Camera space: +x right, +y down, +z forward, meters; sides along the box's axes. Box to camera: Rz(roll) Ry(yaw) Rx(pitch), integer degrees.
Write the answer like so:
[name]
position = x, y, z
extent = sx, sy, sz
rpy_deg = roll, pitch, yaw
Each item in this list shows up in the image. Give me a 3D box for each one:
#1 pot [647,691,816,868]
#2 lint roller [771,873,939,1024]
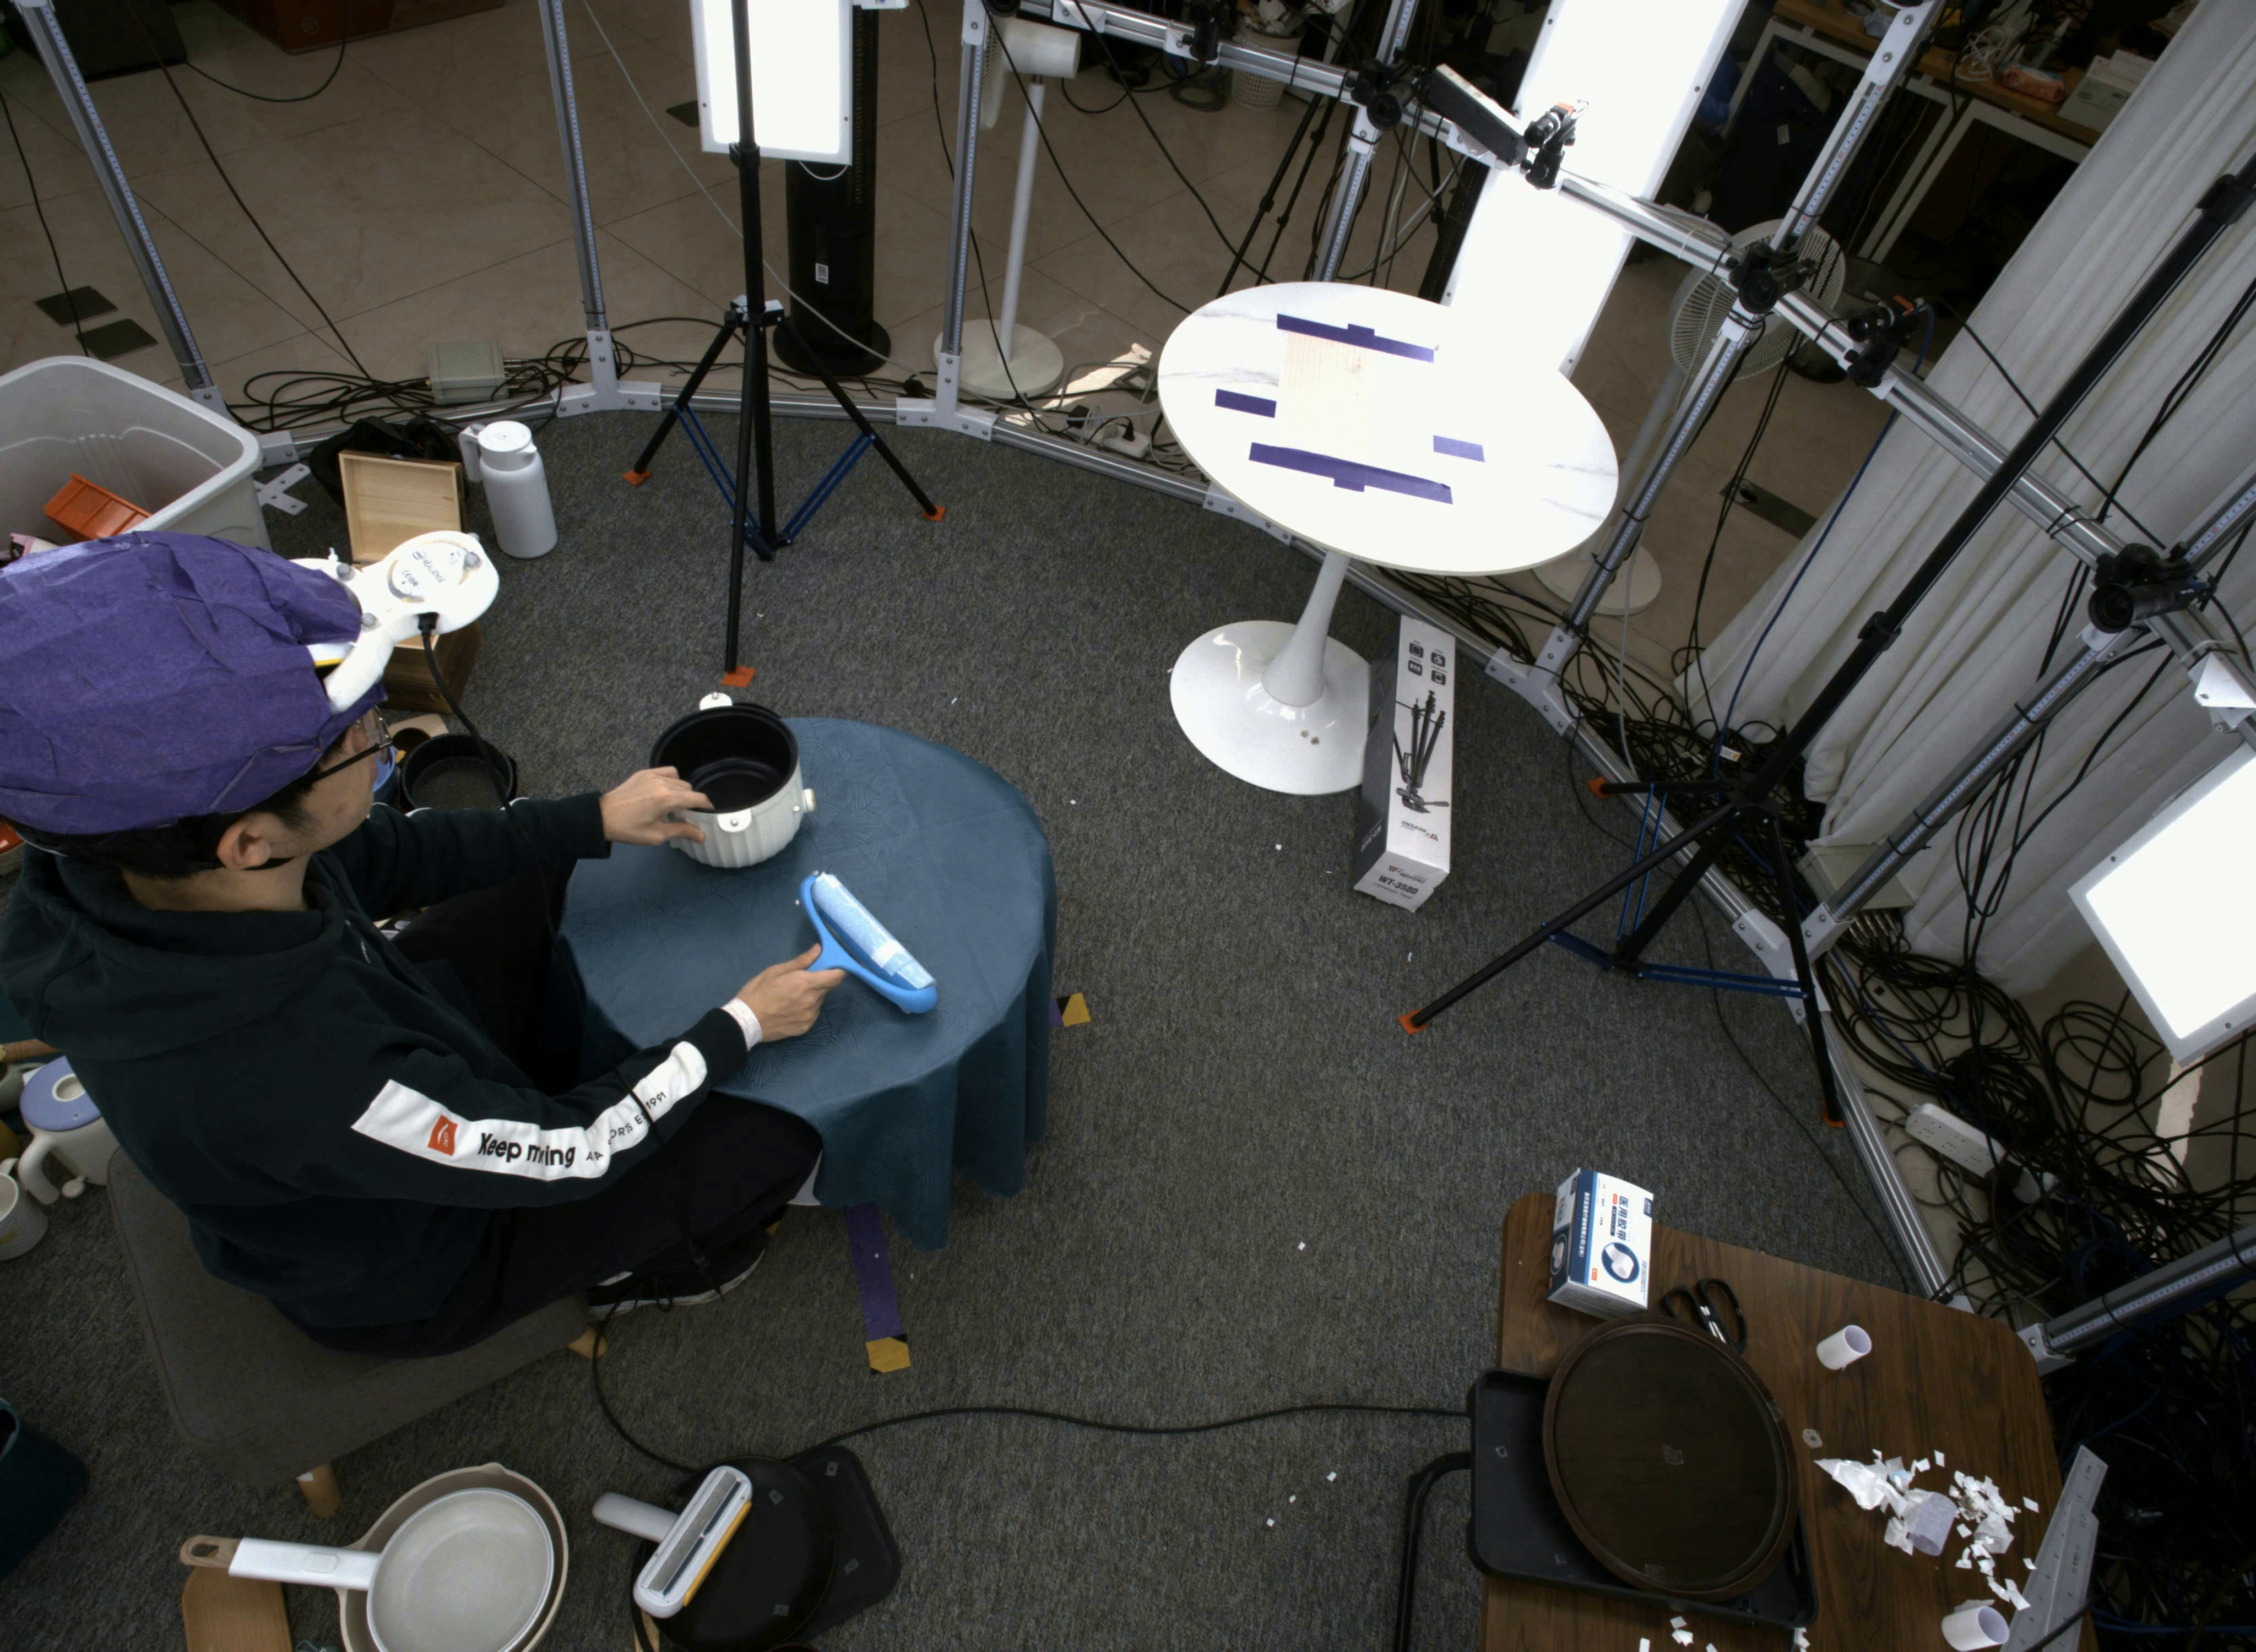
[pot]
position = -0.502, -0.047, 1.646
extent = 0.190, 0.146, 0.234
rpy_deg = -14, 55, -14
[lint roller]
position = -0.355, 0.169, 1.570
extent = 0.226, 0.068, 0.180
rpy_deg = 42, 50, 7
